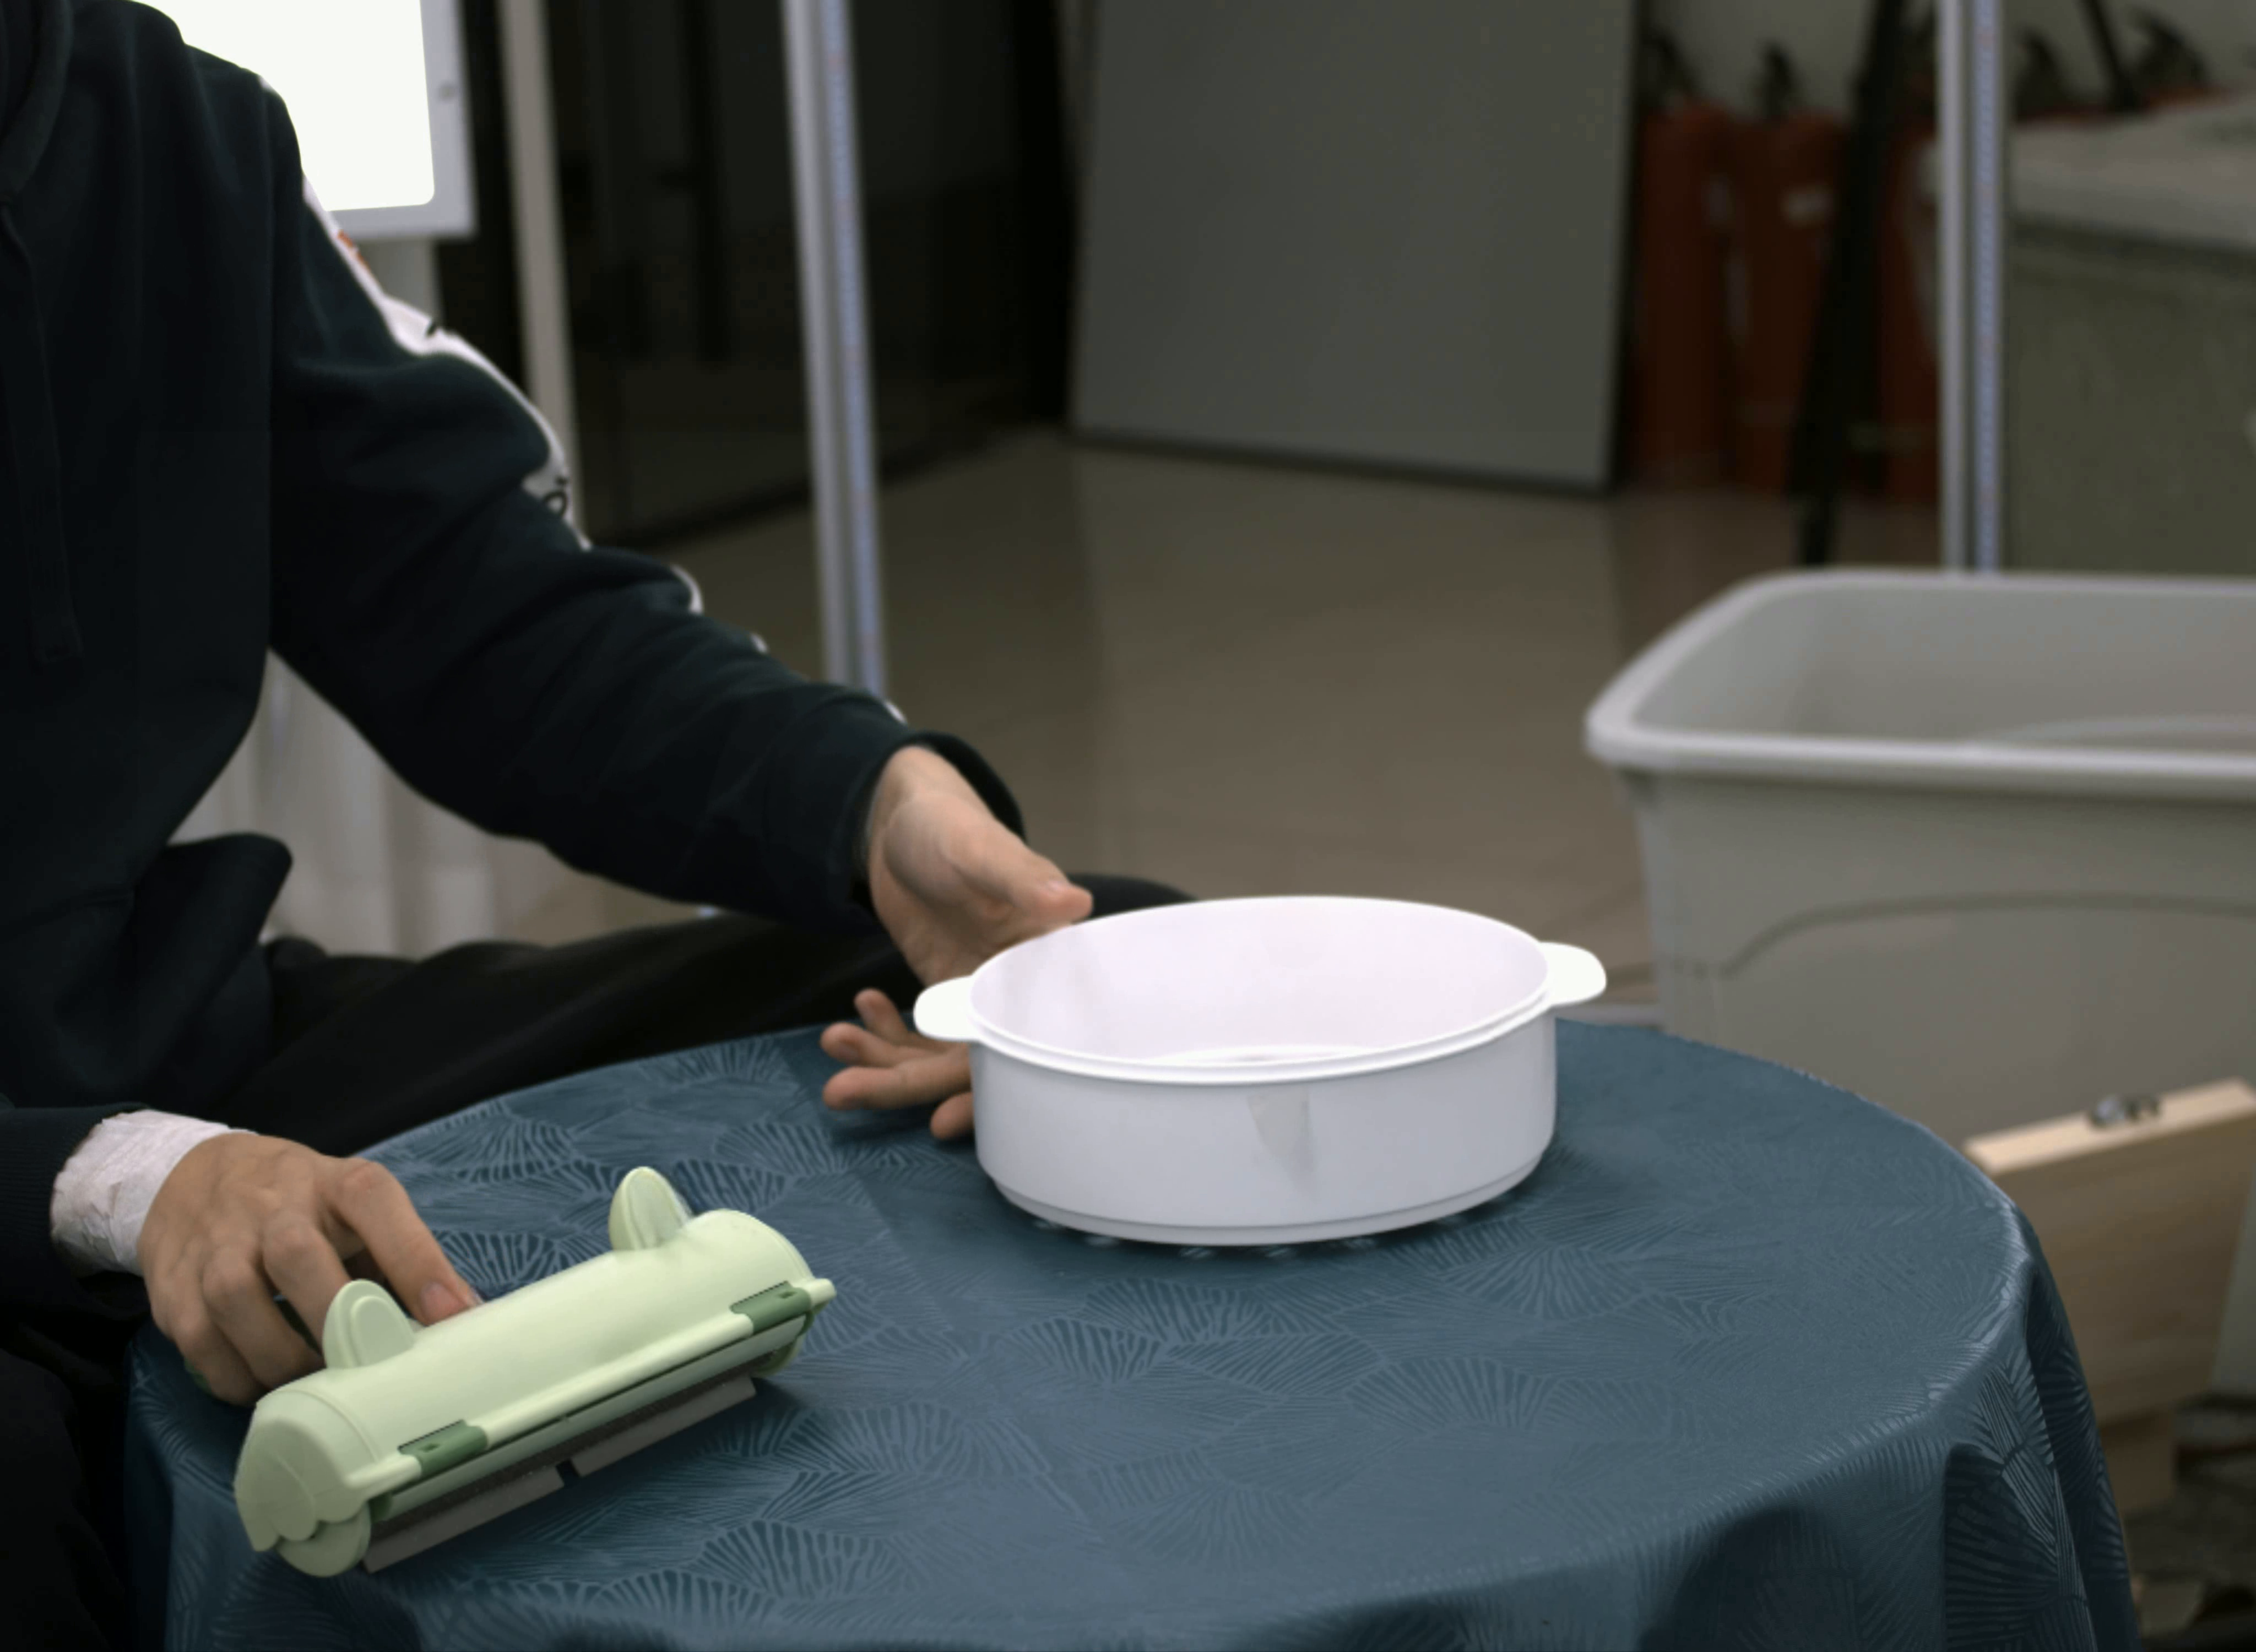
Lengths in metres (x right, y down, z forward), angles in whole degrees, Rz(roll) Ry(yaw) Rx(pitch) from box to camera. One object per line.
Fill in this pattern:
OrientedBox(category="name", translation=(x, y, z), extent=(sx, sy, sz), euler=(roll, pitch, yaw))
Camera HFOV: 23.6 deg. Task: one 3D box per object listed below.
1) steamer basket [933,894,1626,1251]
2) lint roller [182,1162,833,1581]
OrientedBox(category="steamer basket", translation=(0.050, 0.080, 1.776), extent=(0.227, 0.070, 0.202), euler=(-2, 15, 0))
OrientedBox(category="lint roller", translation=(-0.213, 0.144, 1.579), extent=(0.185, 0.083, 0.195), euler=(13, 21, 38))
